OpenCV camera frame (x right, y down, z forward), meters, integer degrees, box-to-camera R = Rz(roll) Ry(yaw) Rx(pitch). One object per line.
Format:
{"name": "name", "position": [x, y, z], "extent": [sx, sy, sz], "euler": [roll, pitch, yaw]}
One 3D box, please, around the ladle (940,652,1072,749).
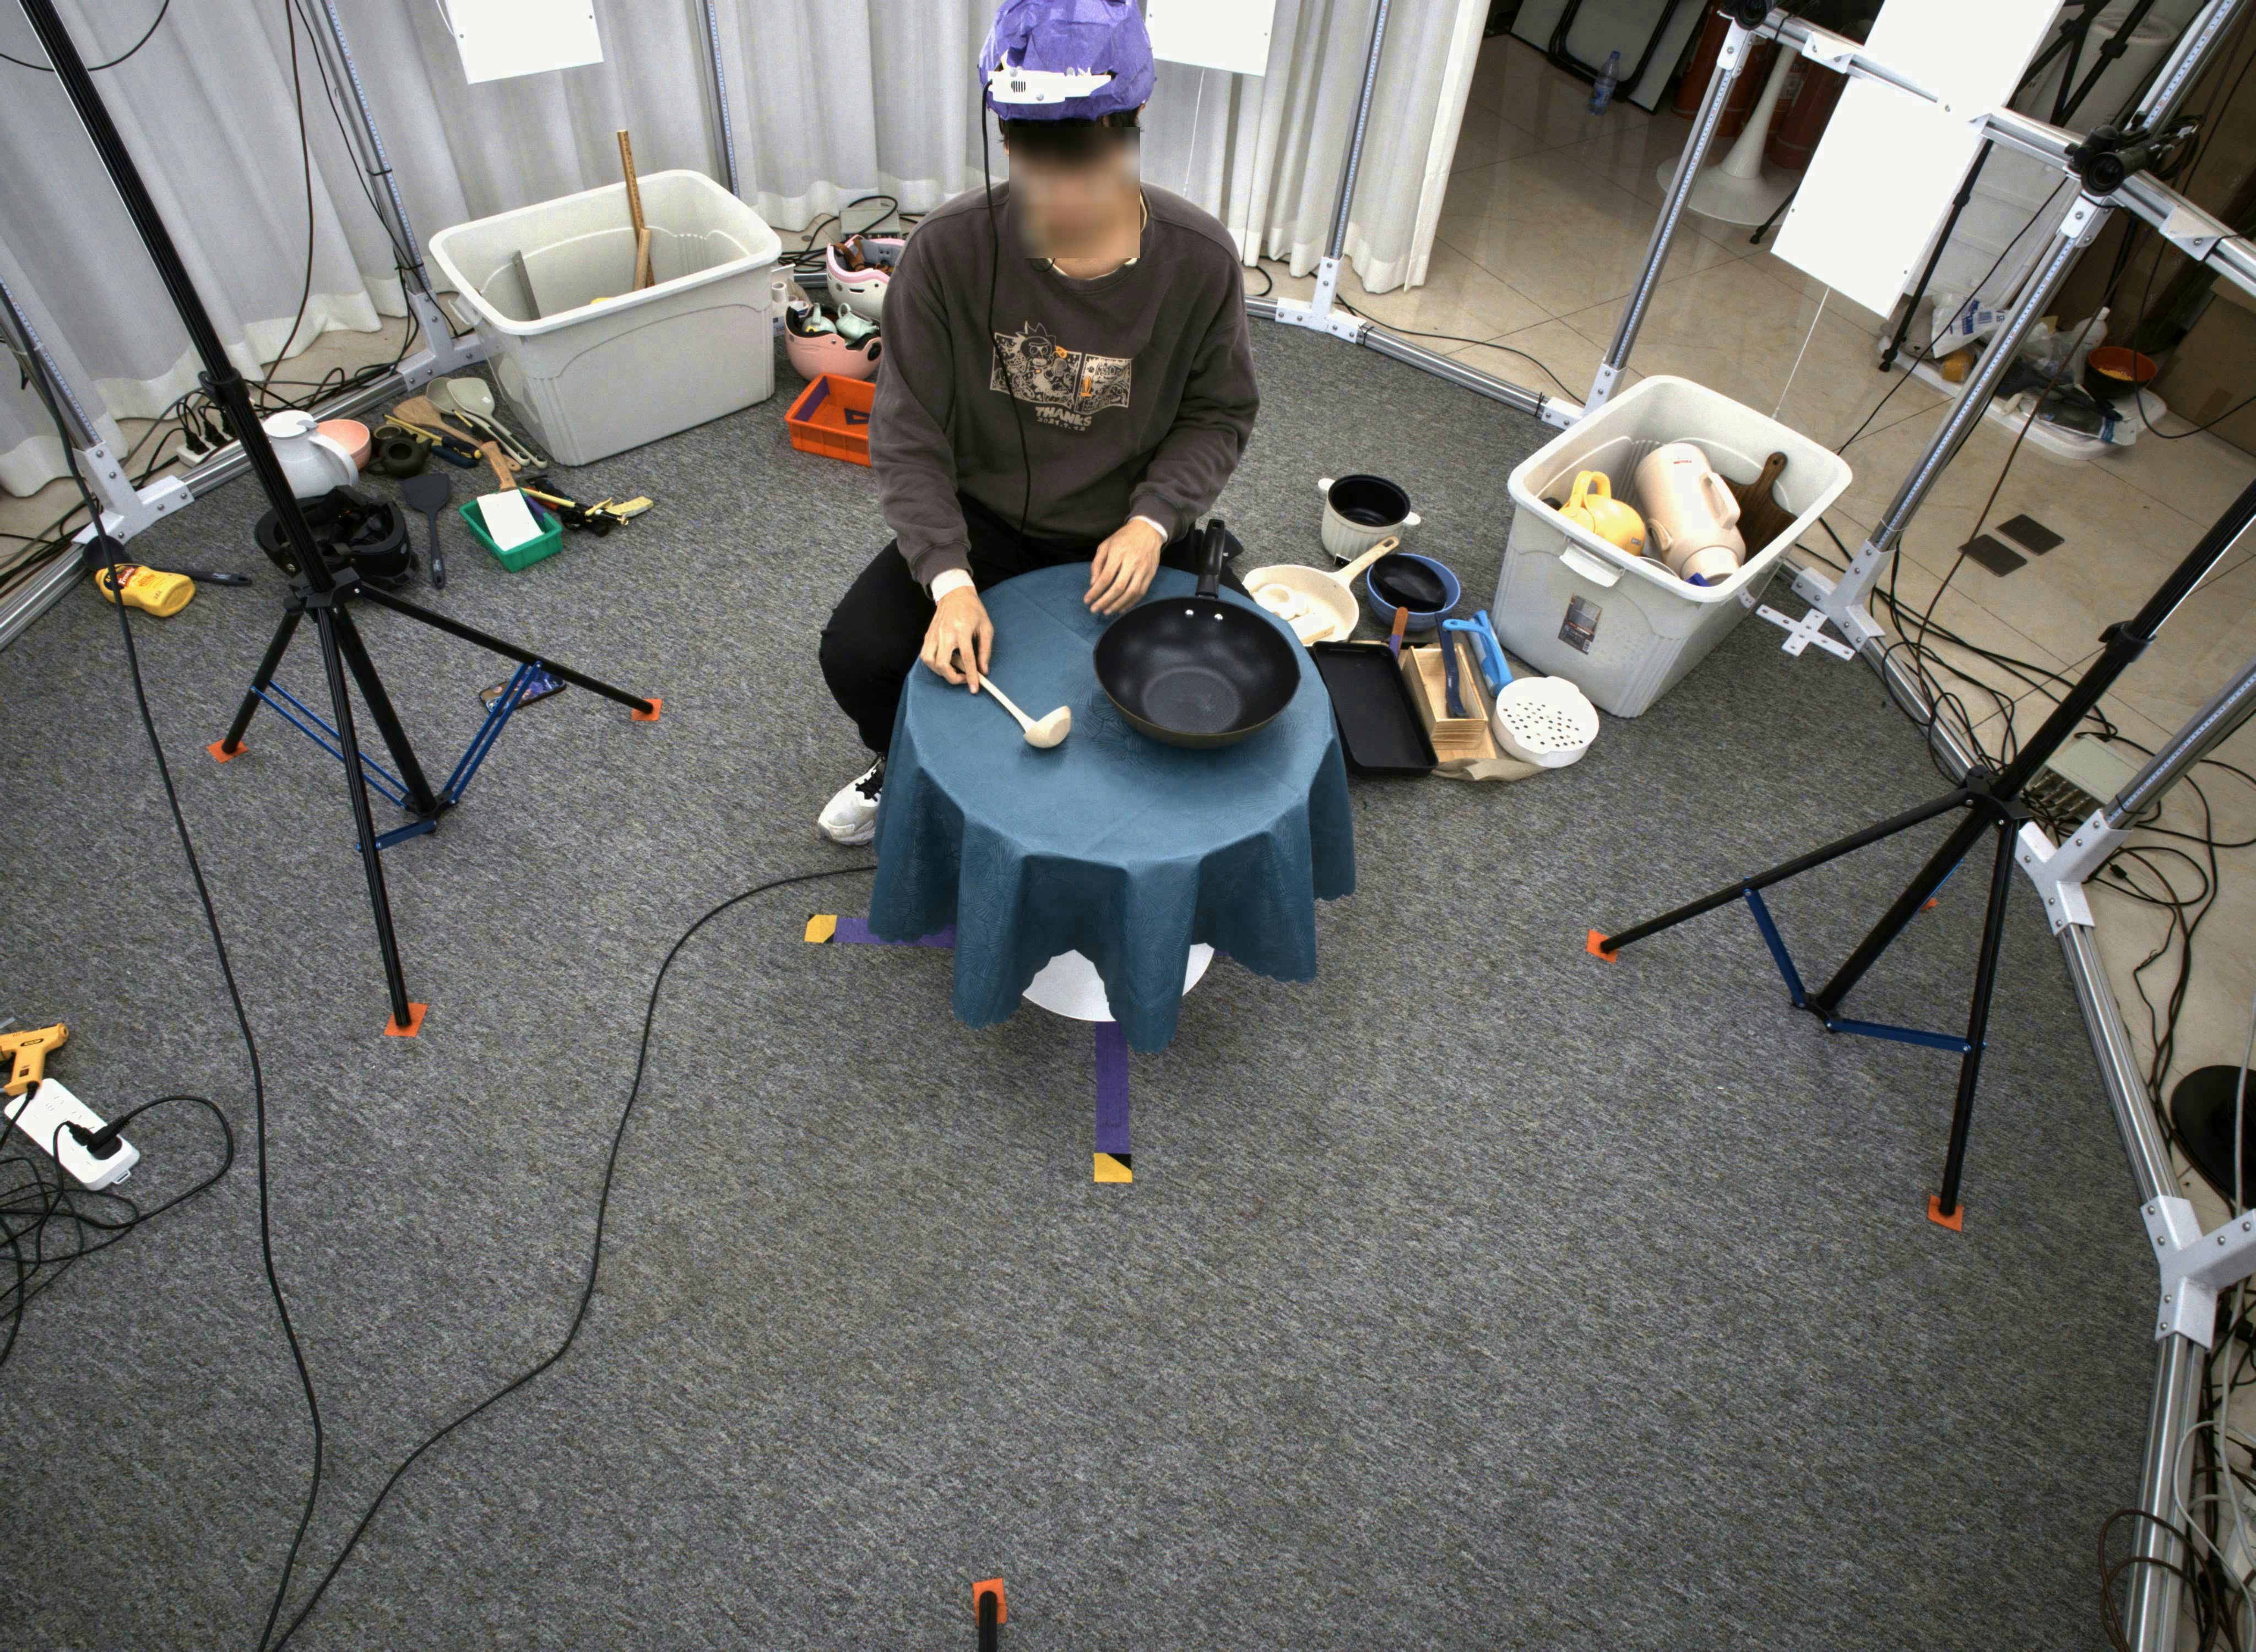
{"name": "ladle", "position": [-0.178, -0.196, 1.778], "extent": [0.073, 0.071, 0.258], "euler": [-35, 60, -28]}

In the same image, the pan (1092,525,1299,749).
{"name": "pan", "position": [0.104, -0.269, 1.852], "extent": [0.288, 0.085, 0.474], "euler": [8, 48, 3]}
